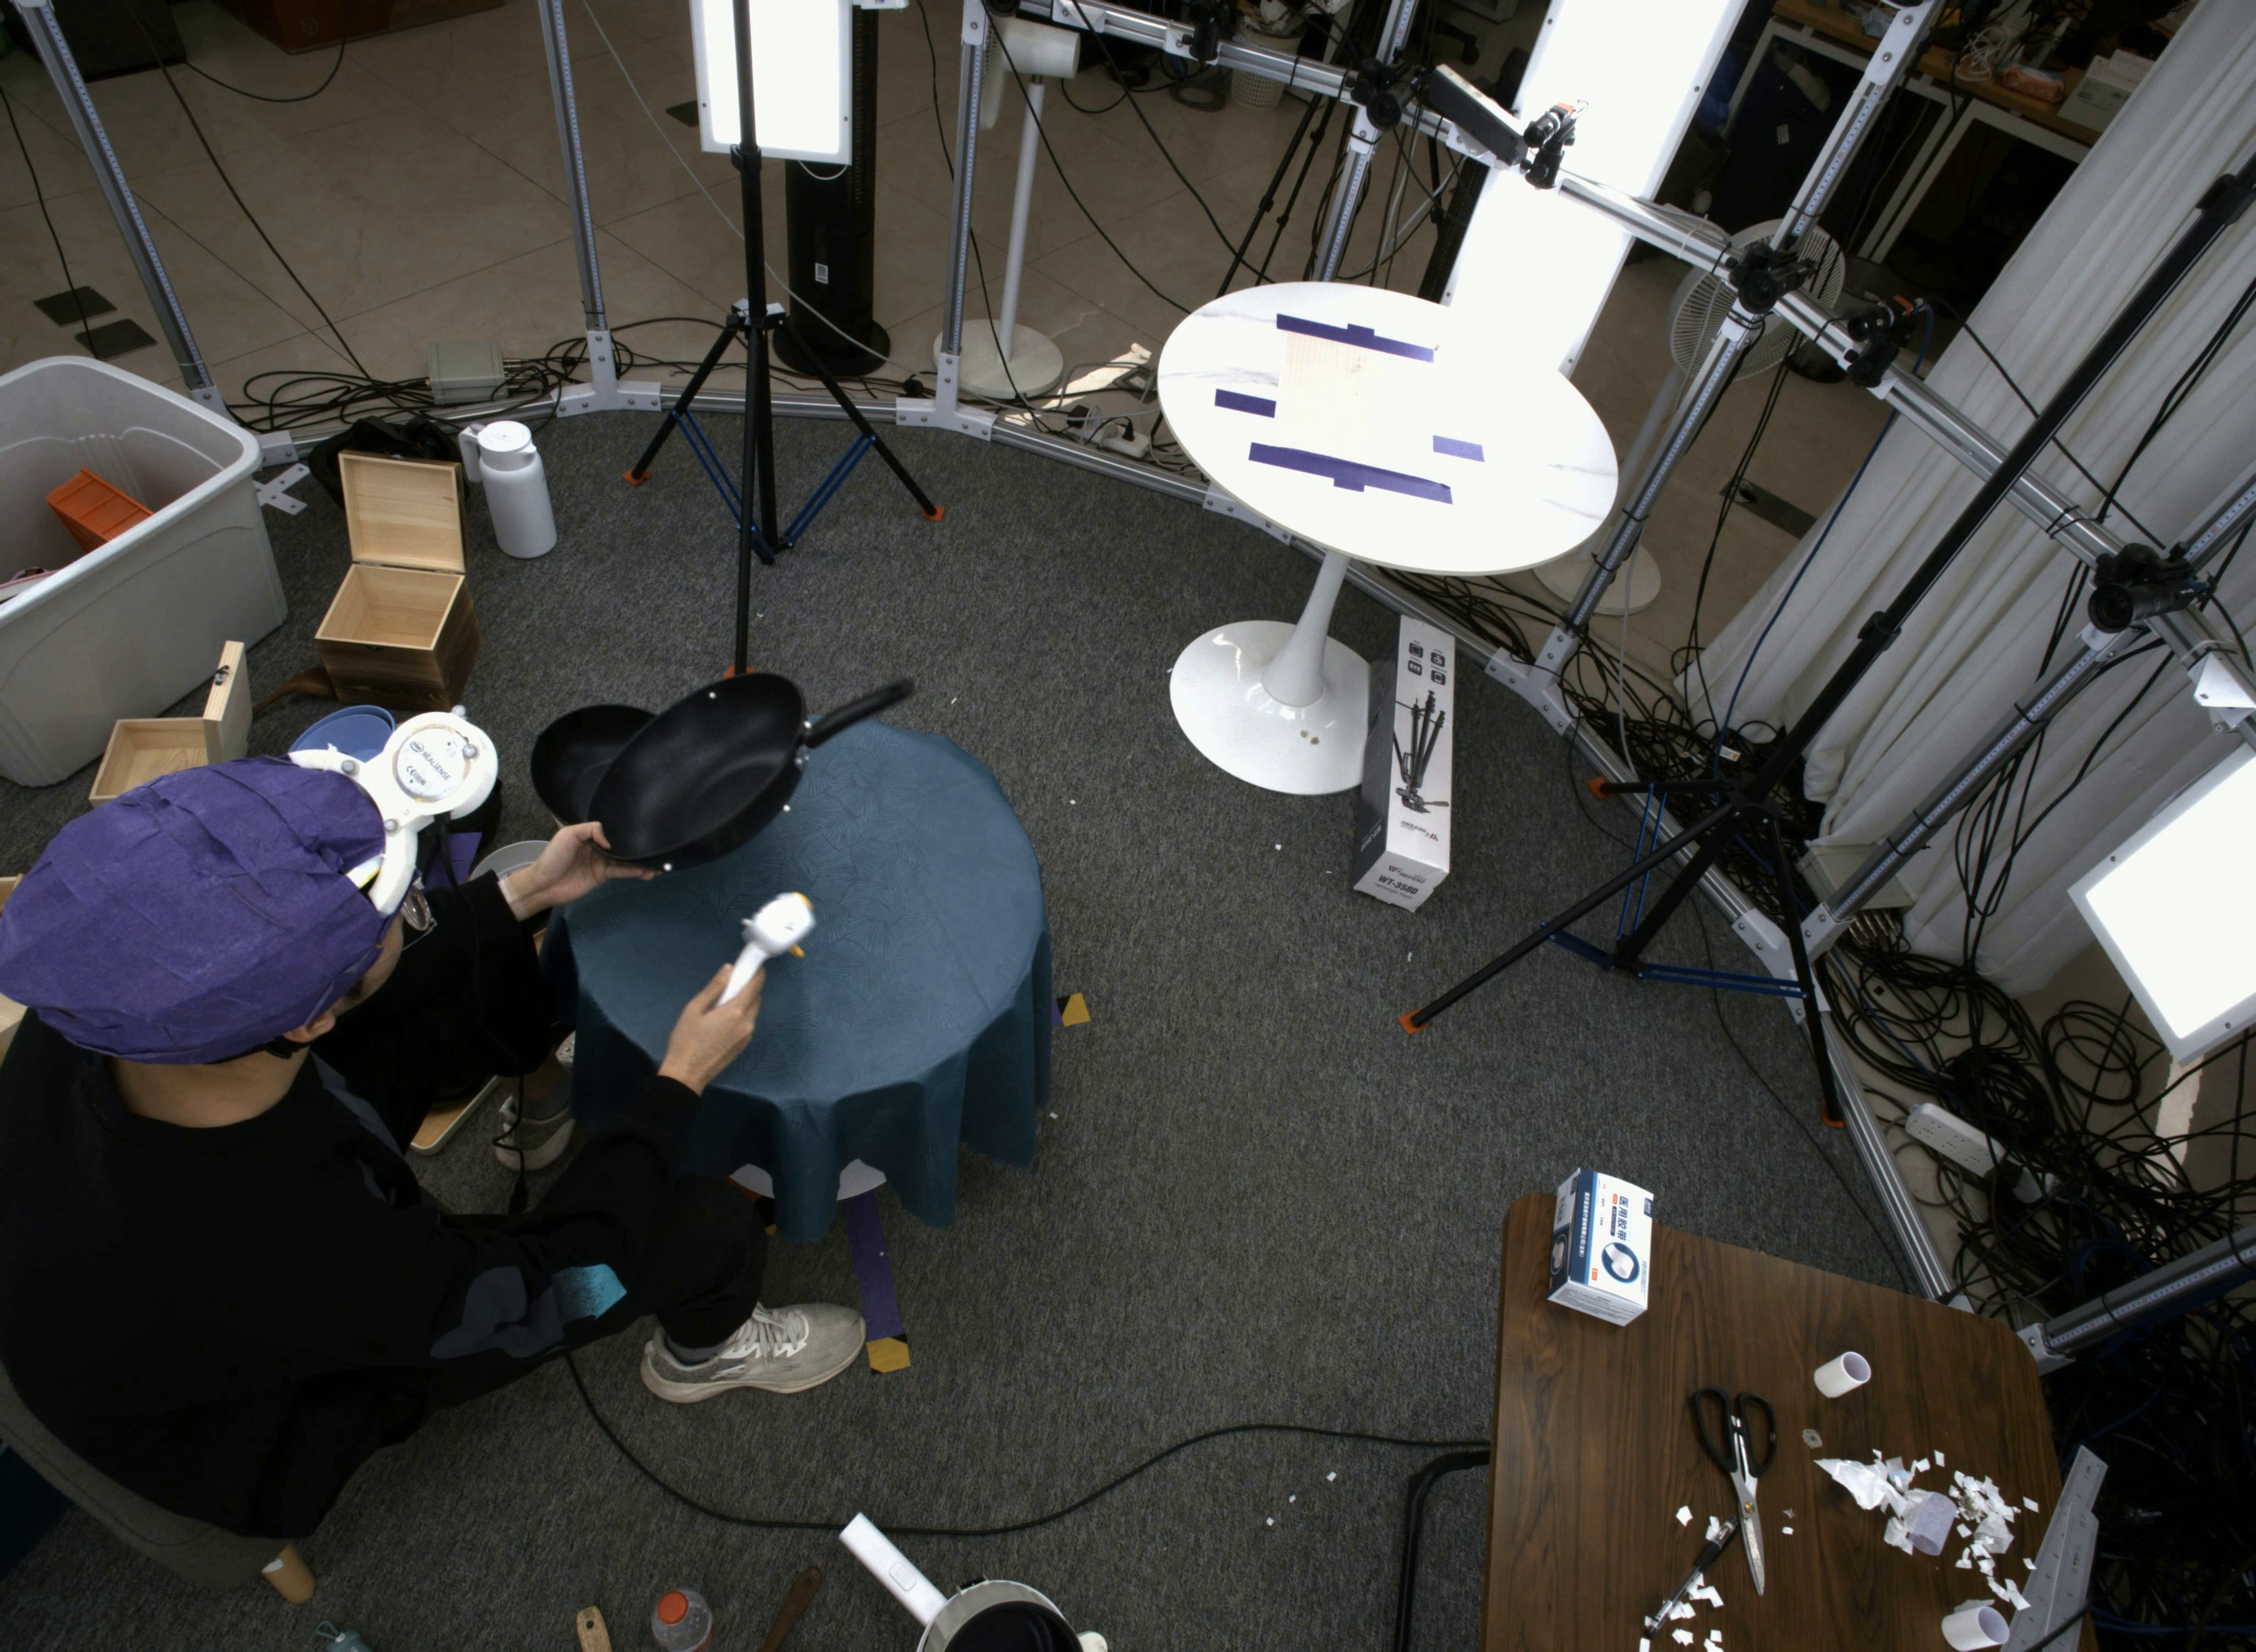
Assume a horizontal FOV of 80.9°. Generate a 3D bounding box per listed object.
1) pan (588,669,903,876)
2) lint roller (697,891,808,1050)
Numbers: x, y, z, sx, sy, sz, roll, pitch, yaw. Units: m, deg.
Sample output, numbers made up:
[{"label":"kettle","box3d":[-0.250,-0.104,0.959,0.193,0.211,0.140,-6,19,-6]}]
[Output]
[{"label":"pan","box3d":[-0.444,-0.077,1.539,0.466,0.116,0.305,-14,45,20]},{"label":"lint roller","box3d":[-0.439,0.161,1.476,0.075,0.190,0.192,42,75,-11]}]
